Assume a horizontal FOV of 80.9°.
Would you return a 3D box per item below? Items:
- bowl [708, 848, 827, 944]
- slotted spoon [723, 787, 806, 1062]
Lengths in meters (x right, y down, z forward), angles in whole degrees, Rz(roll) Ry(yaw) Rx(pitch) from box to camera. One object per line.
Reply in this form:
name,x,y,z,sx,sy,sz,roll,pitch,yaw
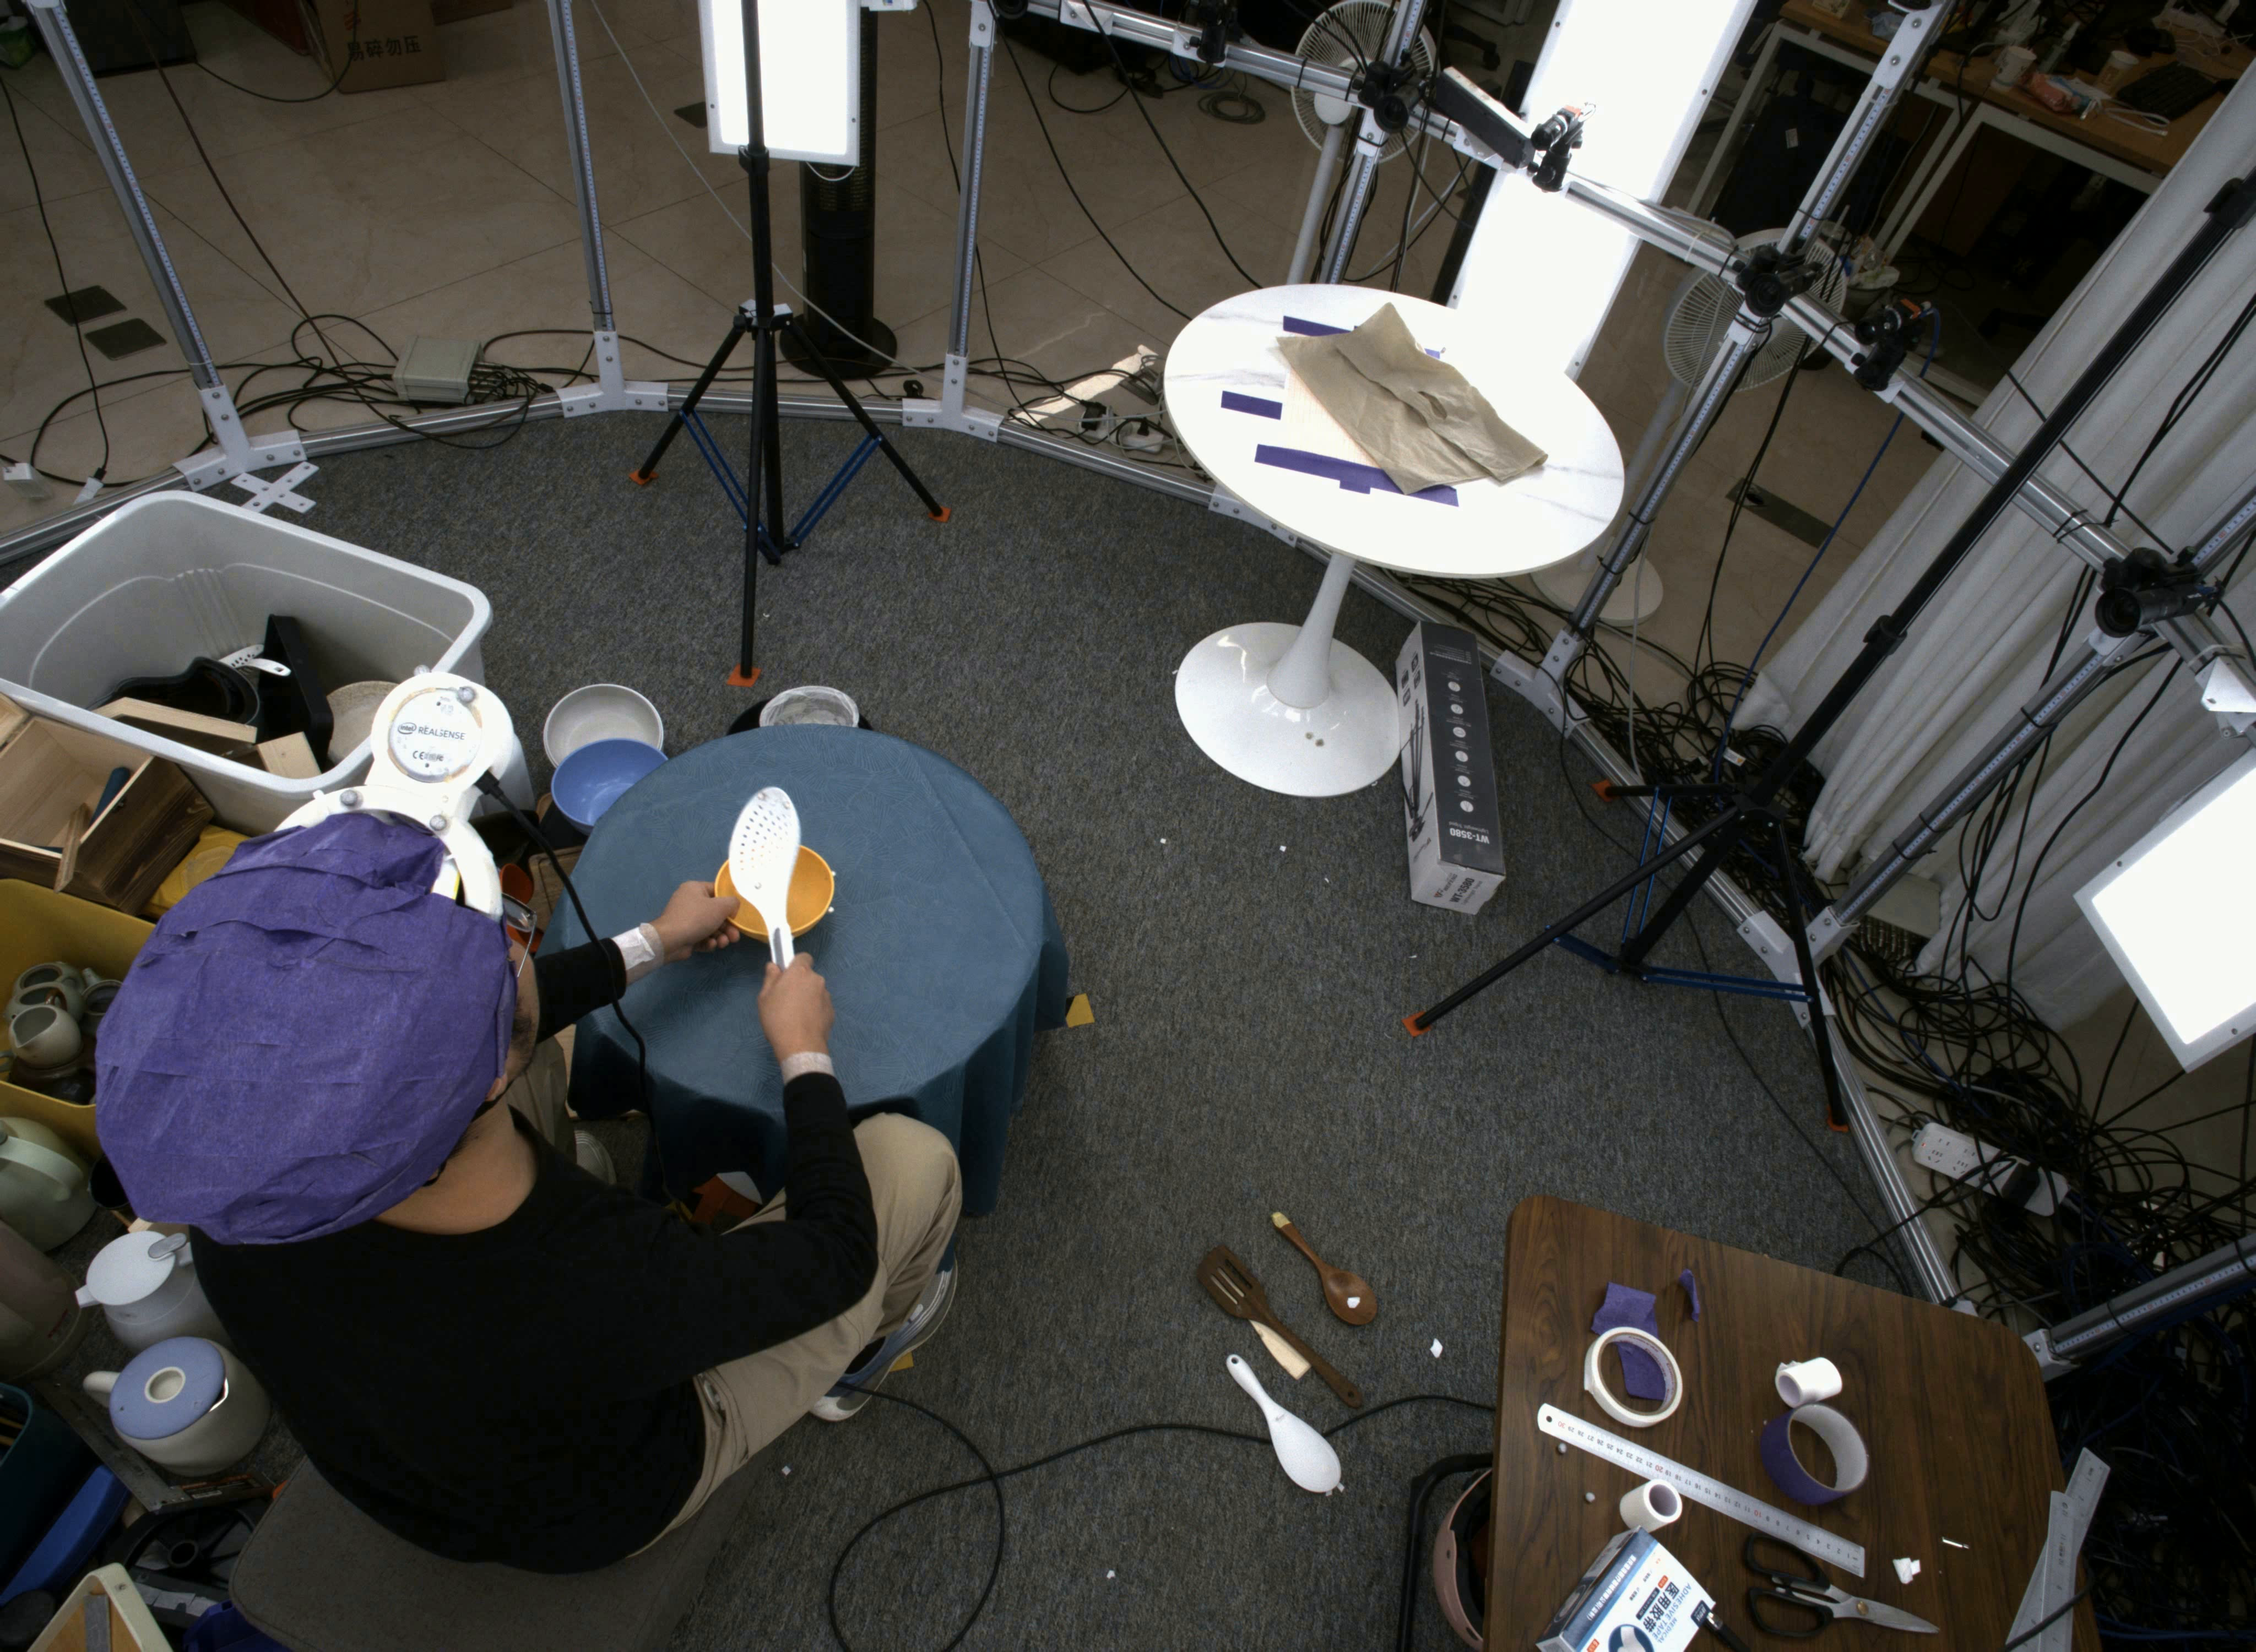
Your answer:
bowl,-0.445,0.094,1.606,0.145,0.061,0.142,8,49,-7
slotted spoon,-0.413,0.109,1.504,0.047,0.135,0.342,22,41,-44
